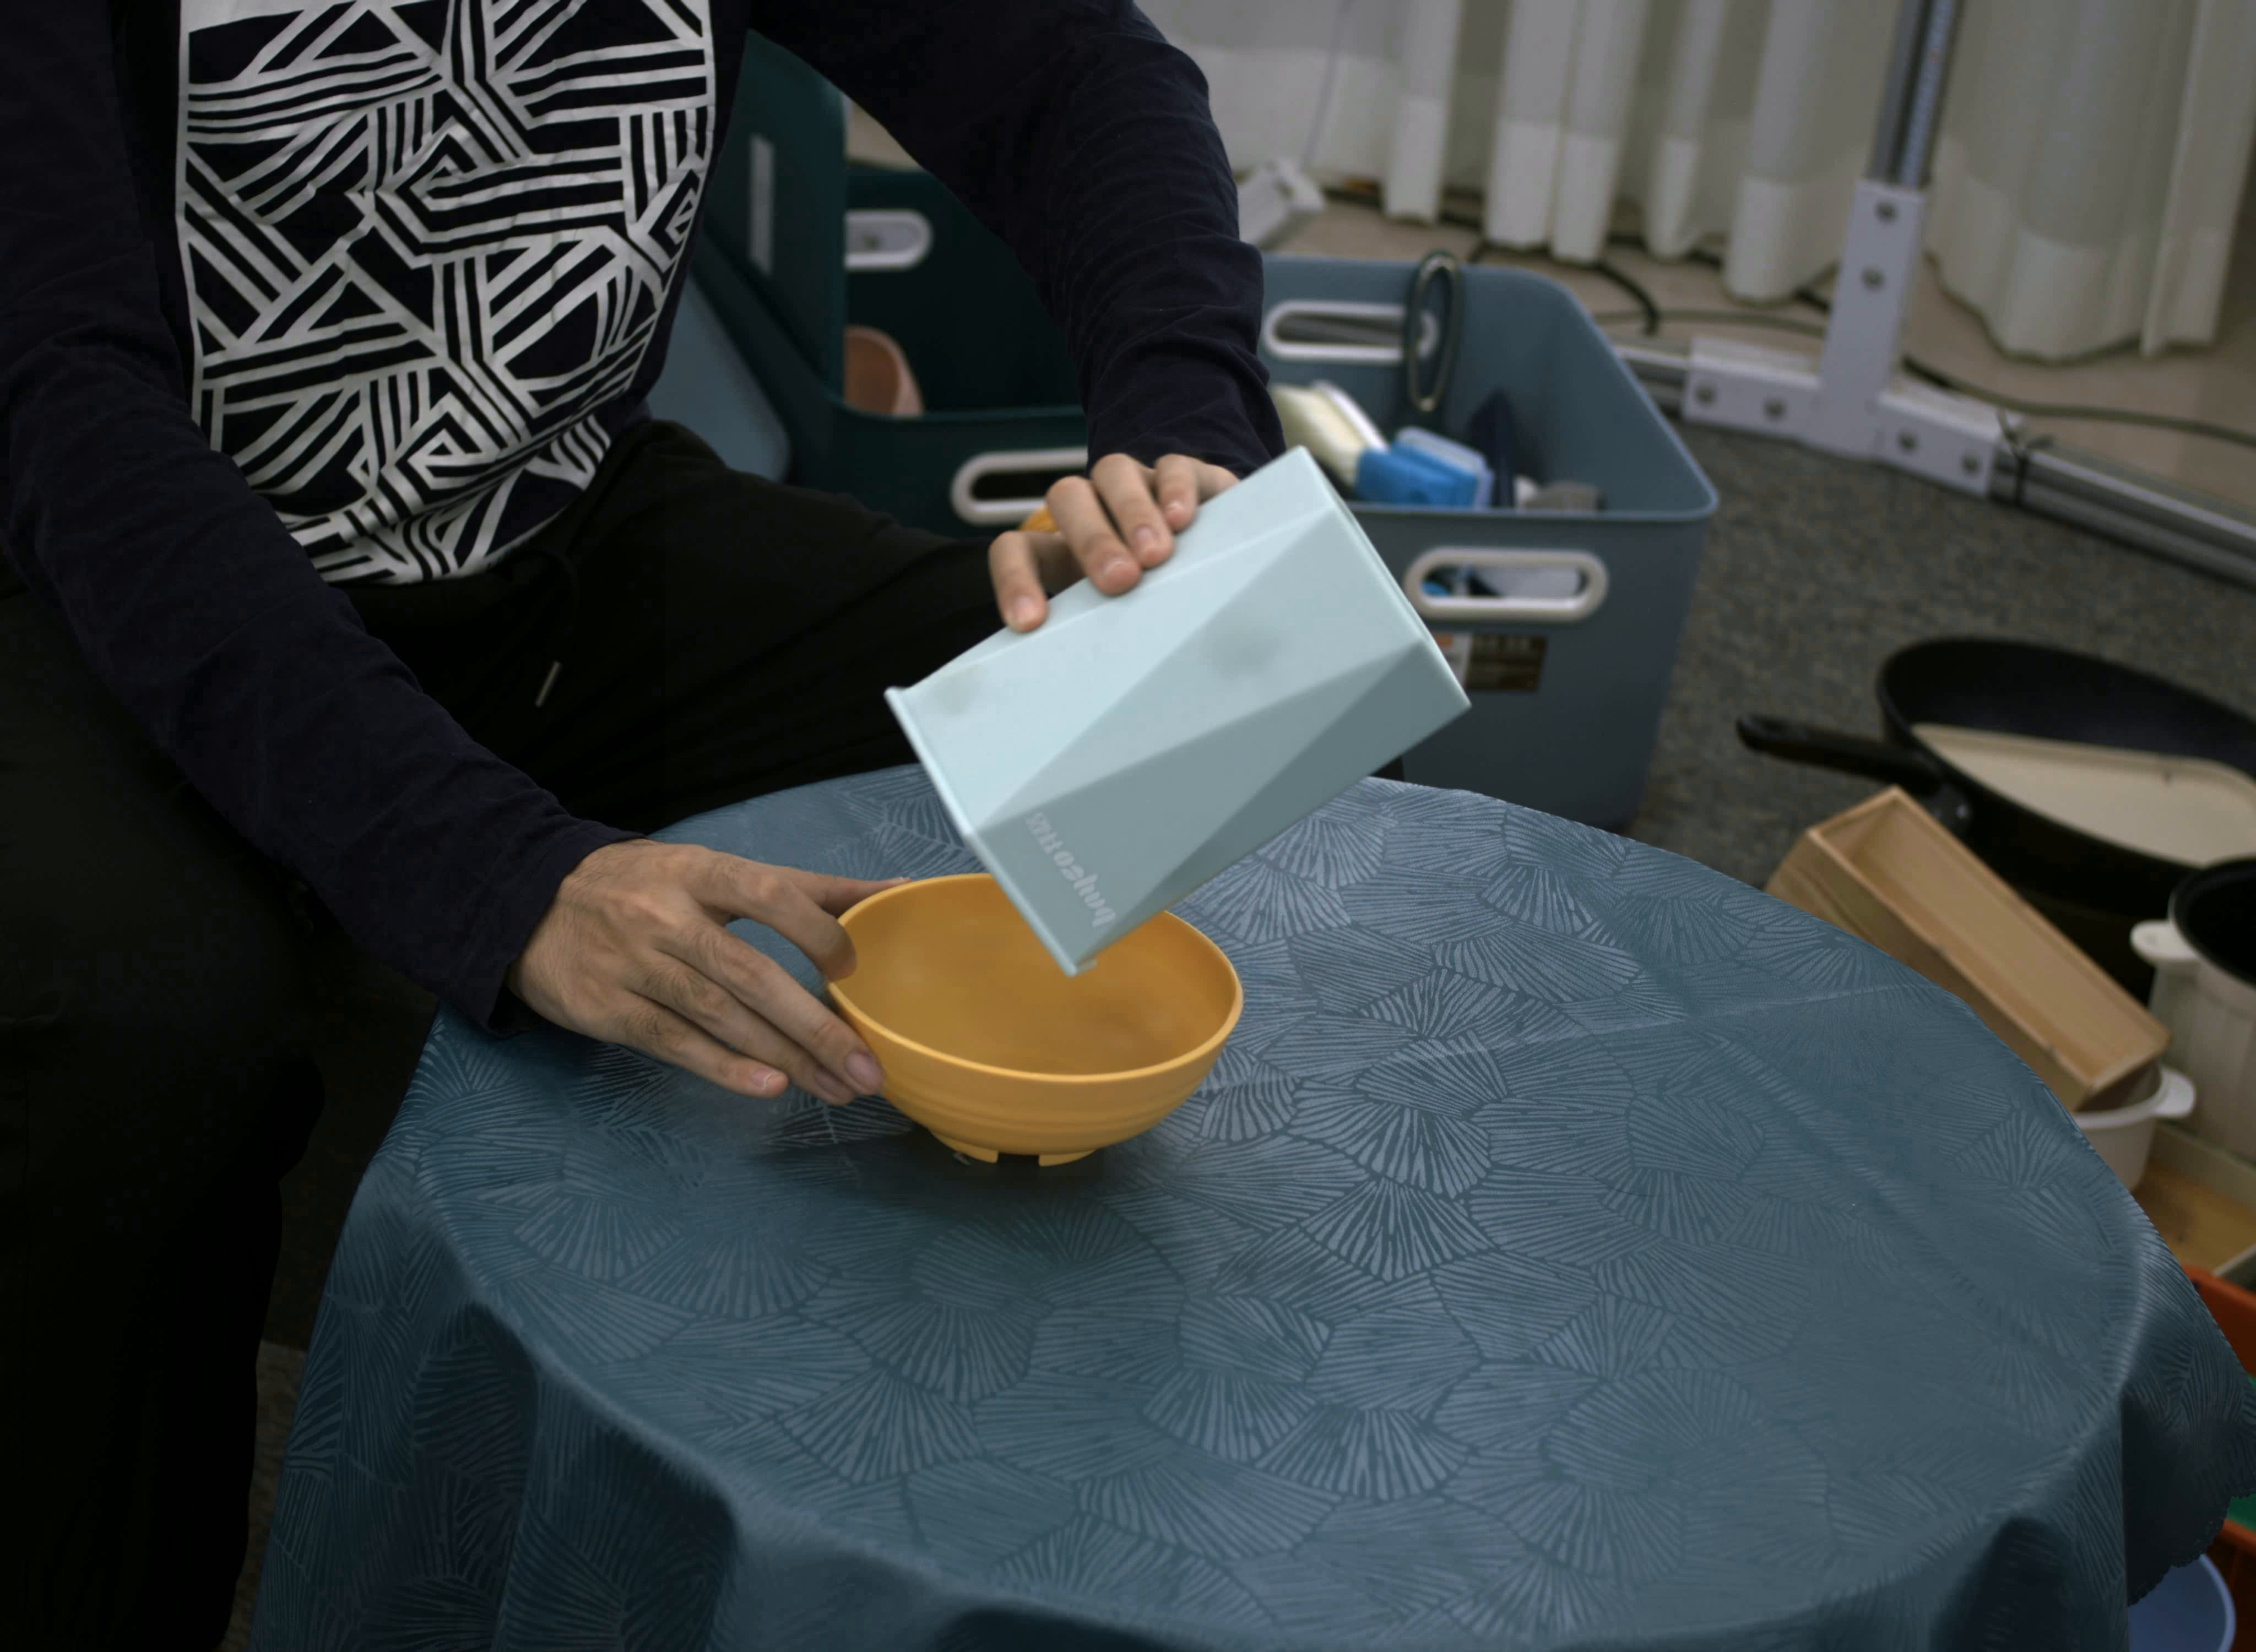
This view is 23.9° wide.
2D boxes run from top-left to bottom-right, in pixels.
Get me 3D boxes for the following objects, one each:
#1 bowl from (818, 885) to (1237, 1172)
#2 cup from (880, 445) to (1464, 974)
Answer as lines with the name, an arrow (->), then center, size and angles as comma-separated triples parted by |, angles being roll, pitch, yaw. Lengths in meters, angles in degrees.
bowl -> -0.037, 0.078, 1.830 | 0.145, 0.060, 0.146 | 5, 24, -3
cup -> 0.018, -0.042, 1.790 | 0.163, 0.130, 0.116 | -33, 24, 7
